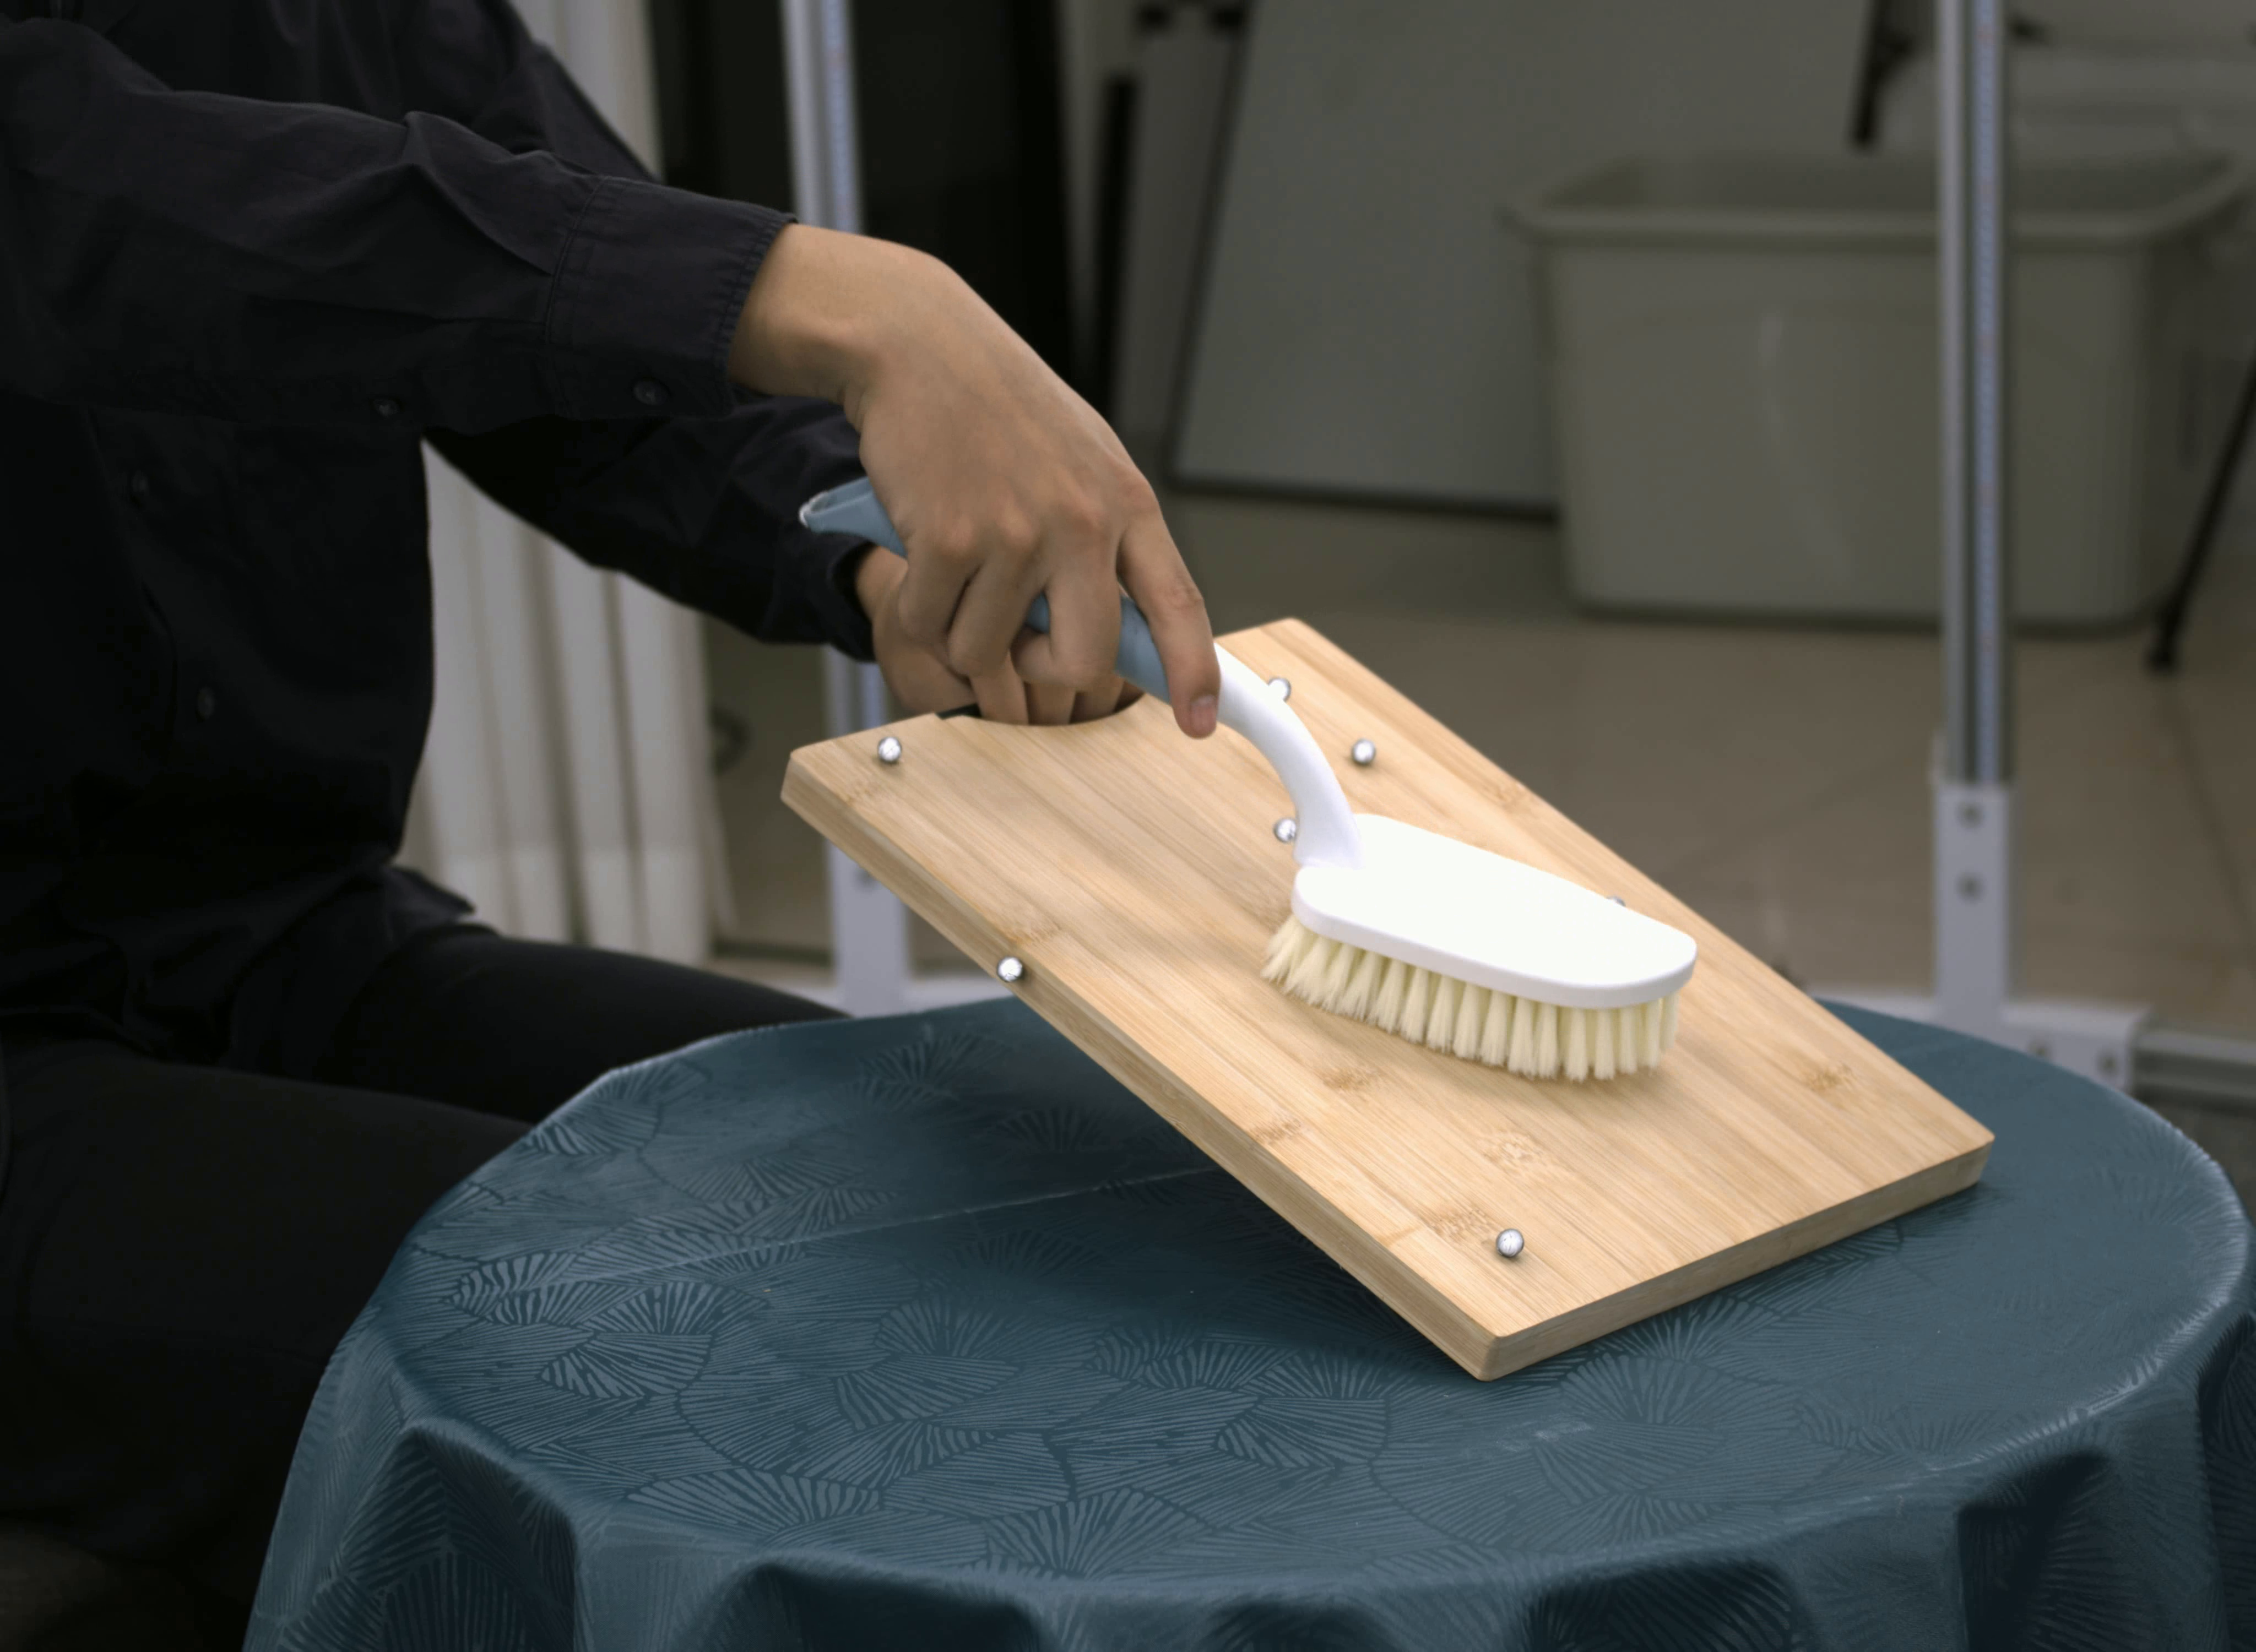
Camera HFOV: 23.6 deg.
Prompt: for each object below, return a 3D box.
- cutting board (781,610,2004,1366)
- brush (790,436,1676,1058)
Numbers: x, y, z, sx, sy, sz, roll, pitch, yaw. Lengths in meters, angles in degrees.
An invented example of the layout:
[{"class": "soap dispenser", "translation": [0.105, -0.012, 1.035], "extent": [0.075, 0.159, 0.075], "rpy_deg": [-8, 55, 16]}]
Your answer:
[{"class": "cutting board", "translation": [0.083, 0.043, 1.748], "extent": [0.245, 0.024, 0.352], "rpy_deg": [-16, 42, -42]}, {"class": "brush", "translation": [0.025, -0.014, 1.723], "extent": [0.324, 0.085, 0.083], "rpy_deg": [30, -4, 6]}]
